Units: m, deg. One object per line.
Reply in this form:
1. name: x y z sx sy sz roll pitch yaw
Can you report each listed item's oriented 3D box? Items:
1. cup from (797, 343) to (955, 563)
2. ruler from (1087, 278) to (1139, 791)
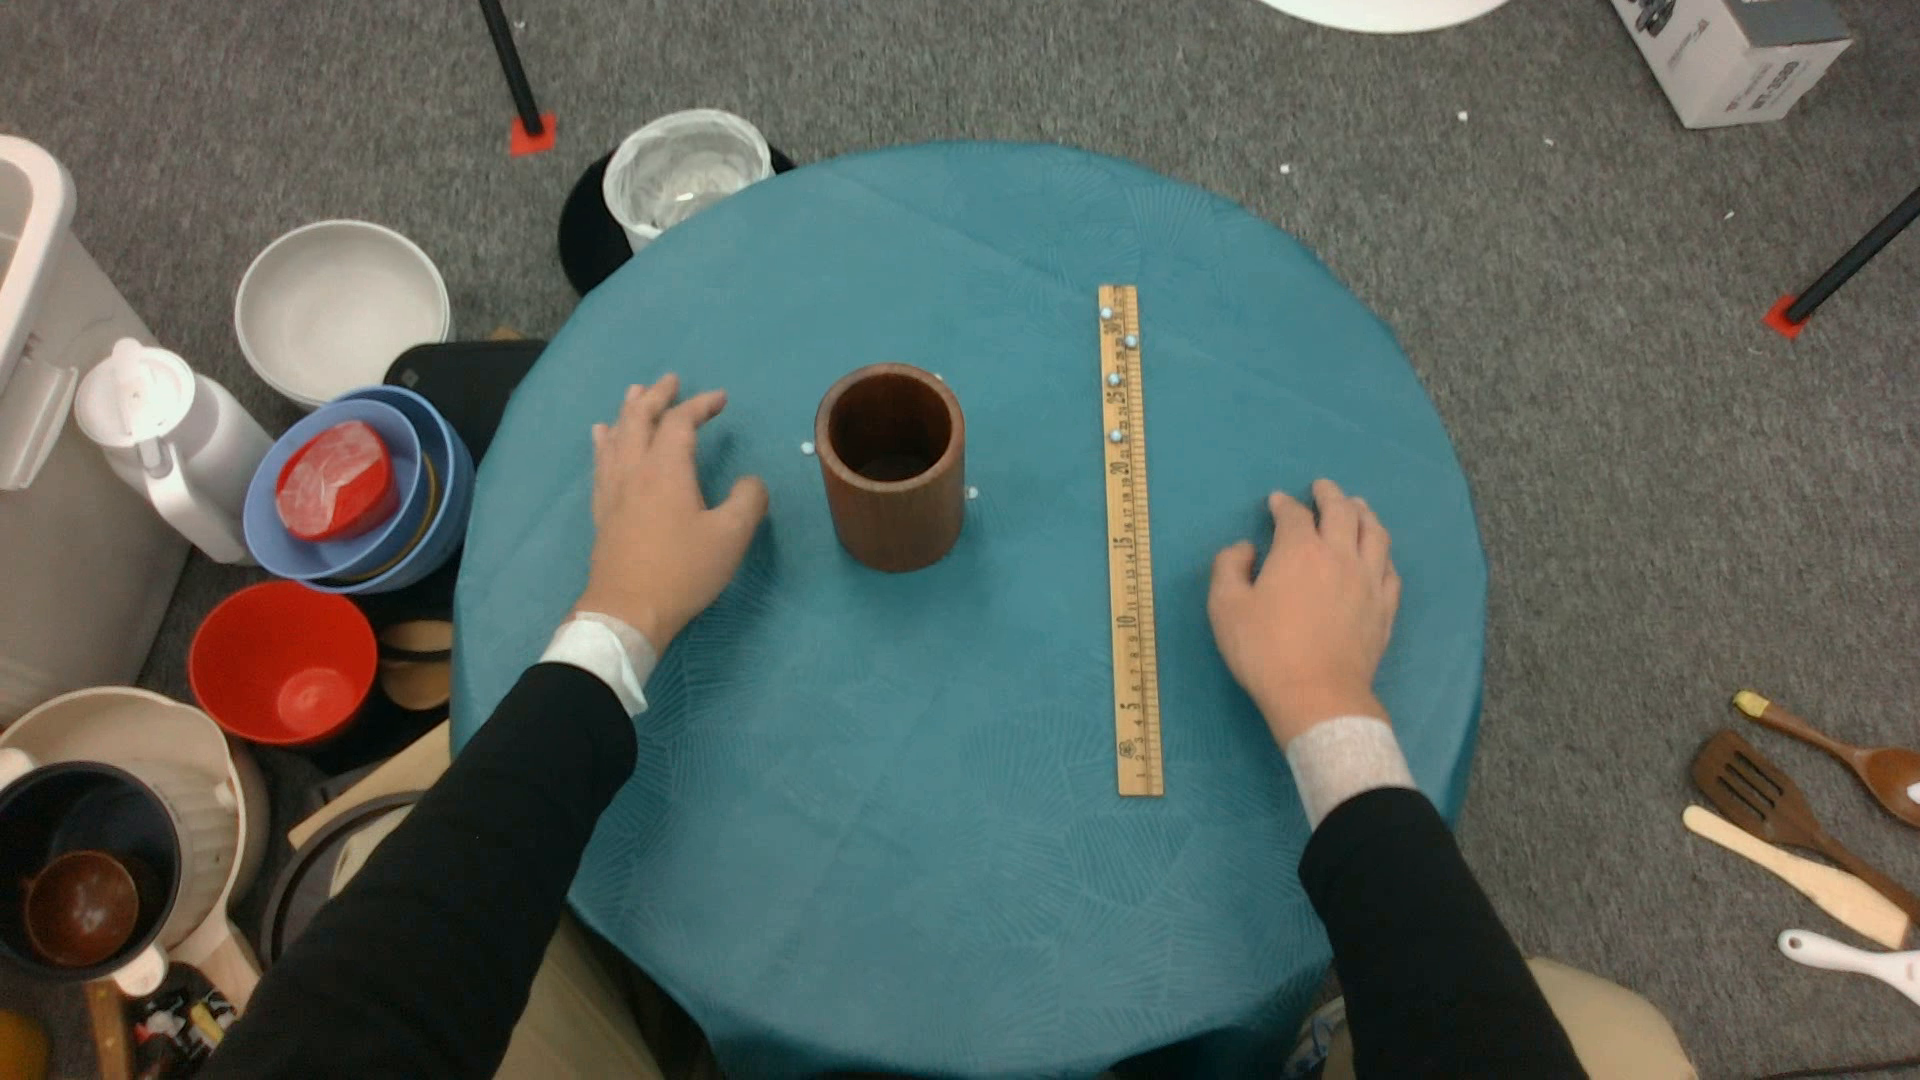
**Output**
1. cup: -0.044 -0.046 0.765 0.088 0.118 0.088 0 67 0
2. ruler: 0.090 -0.017 0.813 0.027 0.022 0.333 0 65 4
